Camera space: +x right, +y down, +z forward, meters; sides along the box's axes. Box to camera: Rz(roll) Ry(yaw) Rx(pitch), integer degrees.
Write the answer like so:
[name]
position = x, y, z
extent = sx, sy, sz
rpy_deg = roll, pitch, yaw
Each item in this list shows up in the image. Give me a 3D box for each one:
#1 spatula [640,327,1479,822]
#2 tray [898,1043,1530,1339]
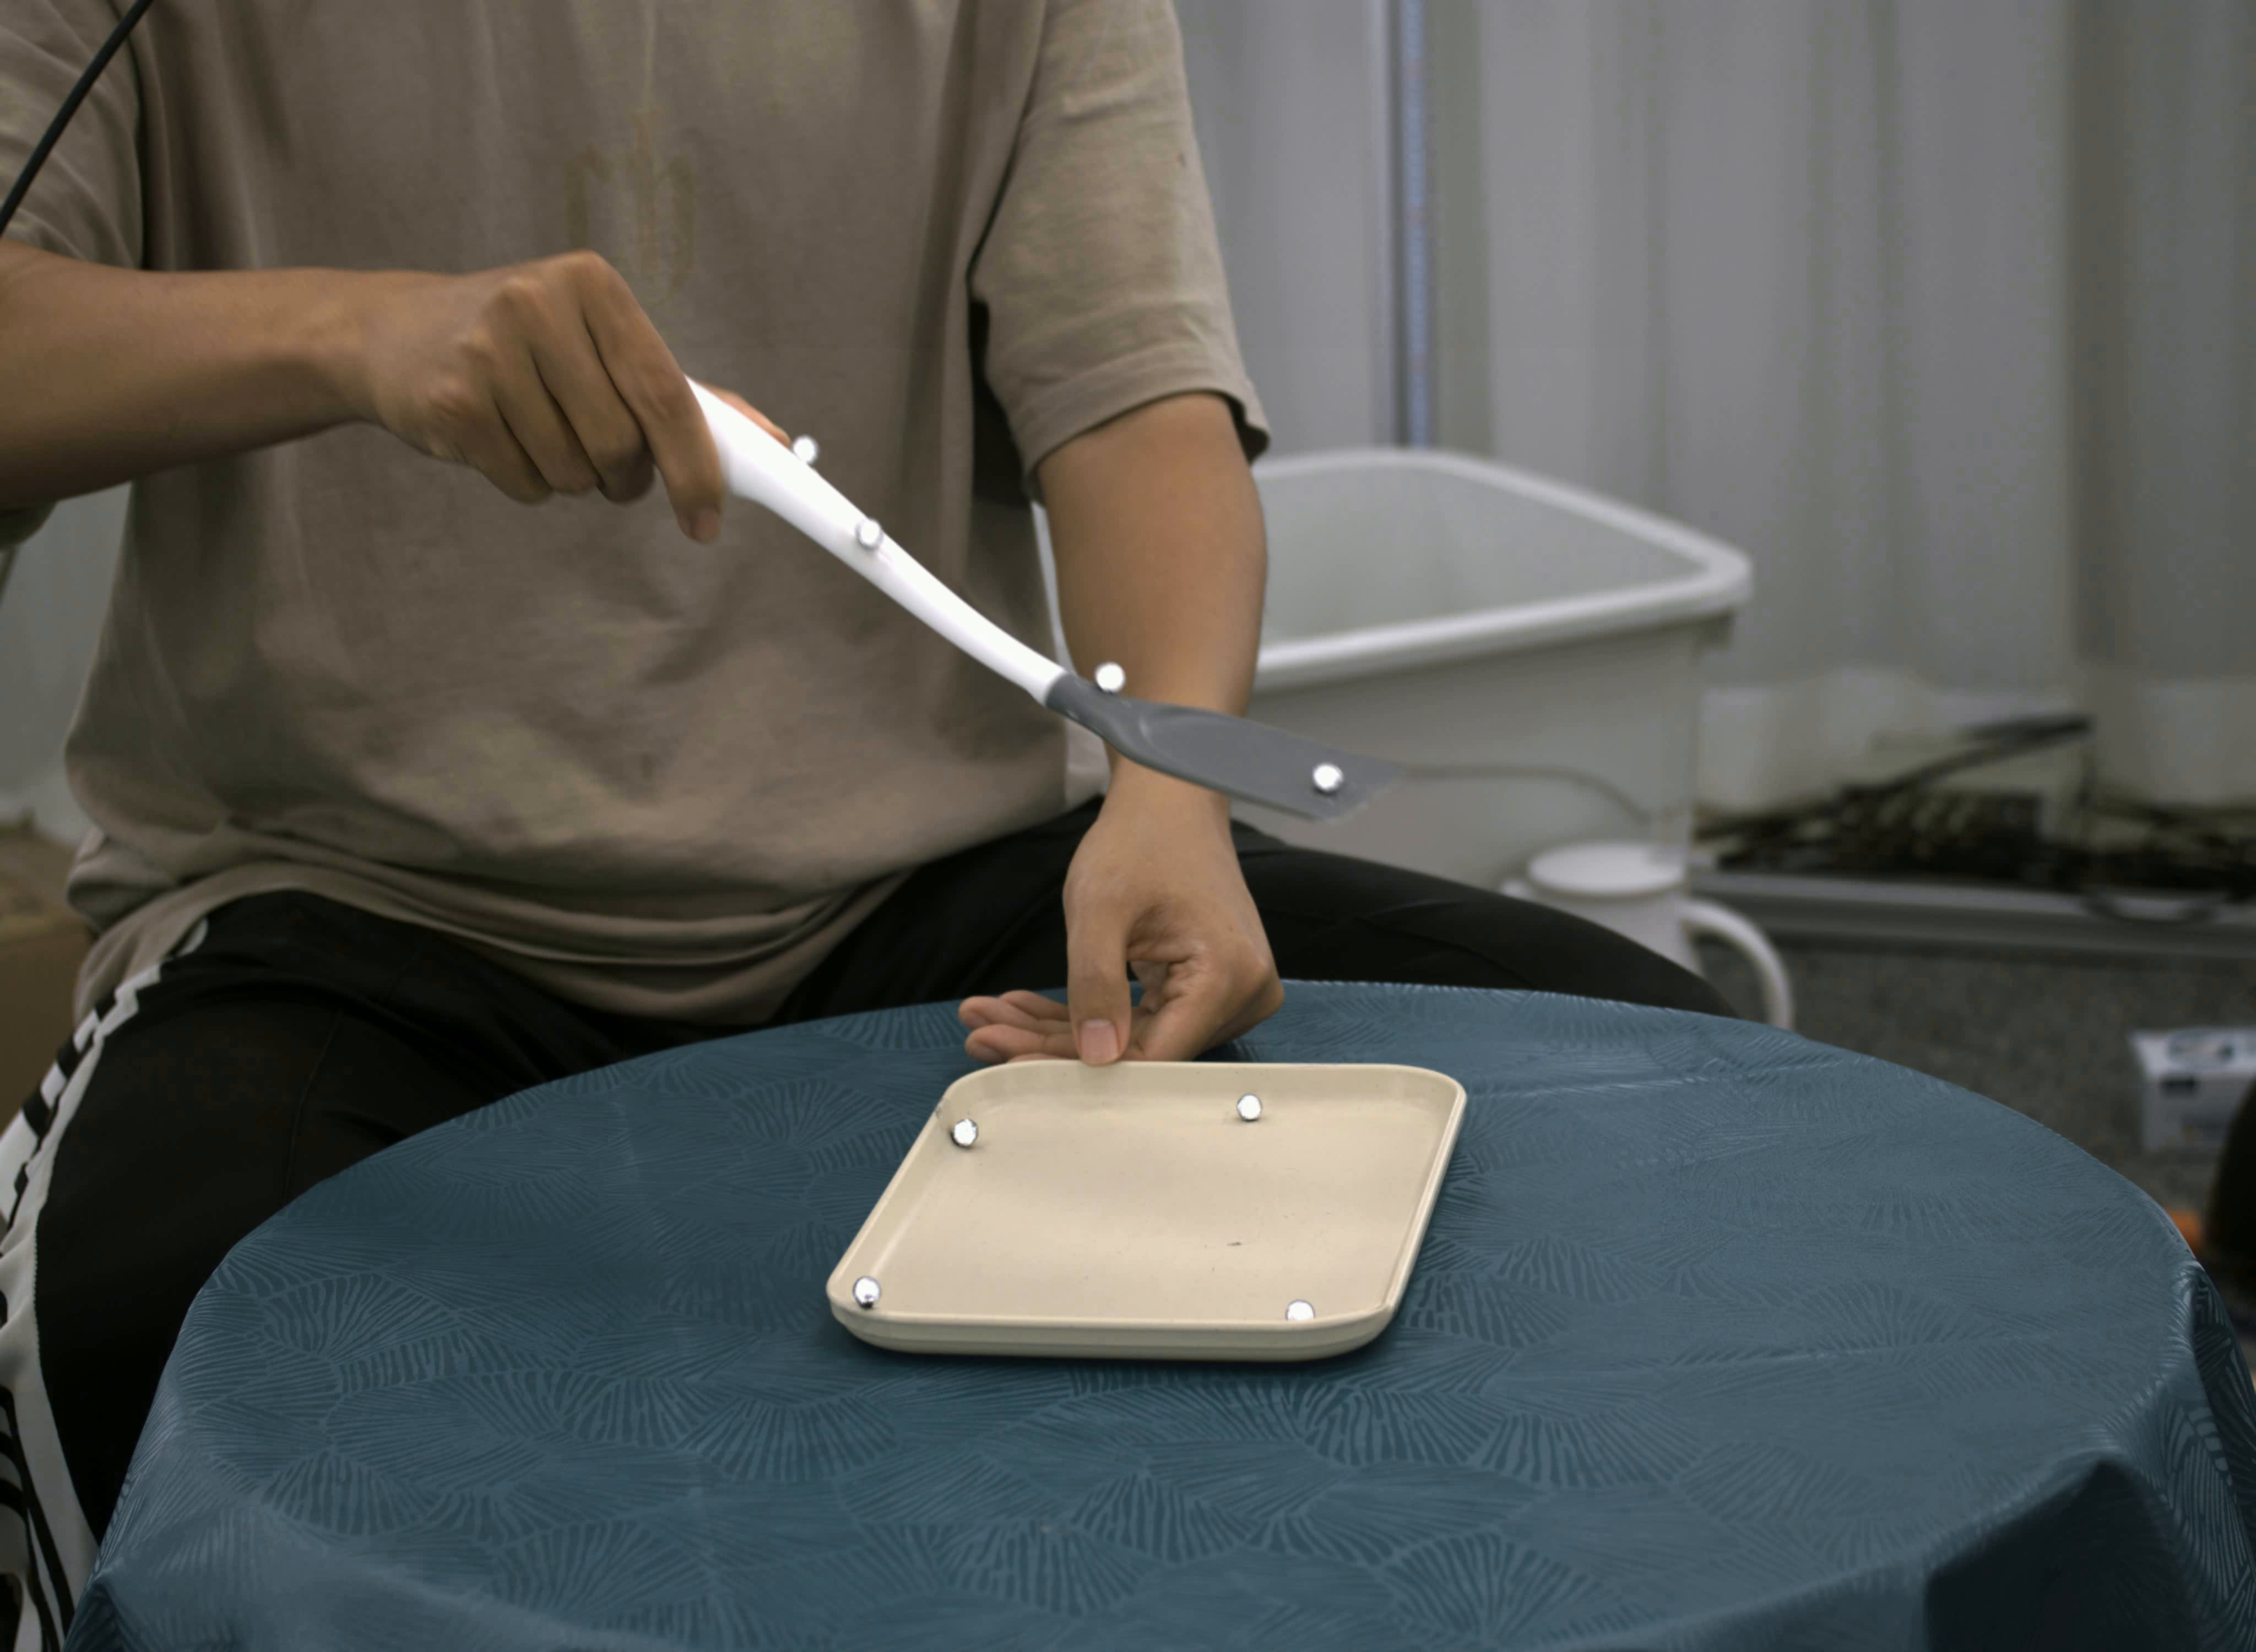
[spatula]
position = -0.024, -0.071, 1.658
extent = 0.289, 0.032, 0.059
rpy_deg = 31, 25, 17
[tray]
position = 0.031, 0.111, 1.672
extent = 0.171, 0.017, 0.241
rpy_deg = 1, 15, 10
